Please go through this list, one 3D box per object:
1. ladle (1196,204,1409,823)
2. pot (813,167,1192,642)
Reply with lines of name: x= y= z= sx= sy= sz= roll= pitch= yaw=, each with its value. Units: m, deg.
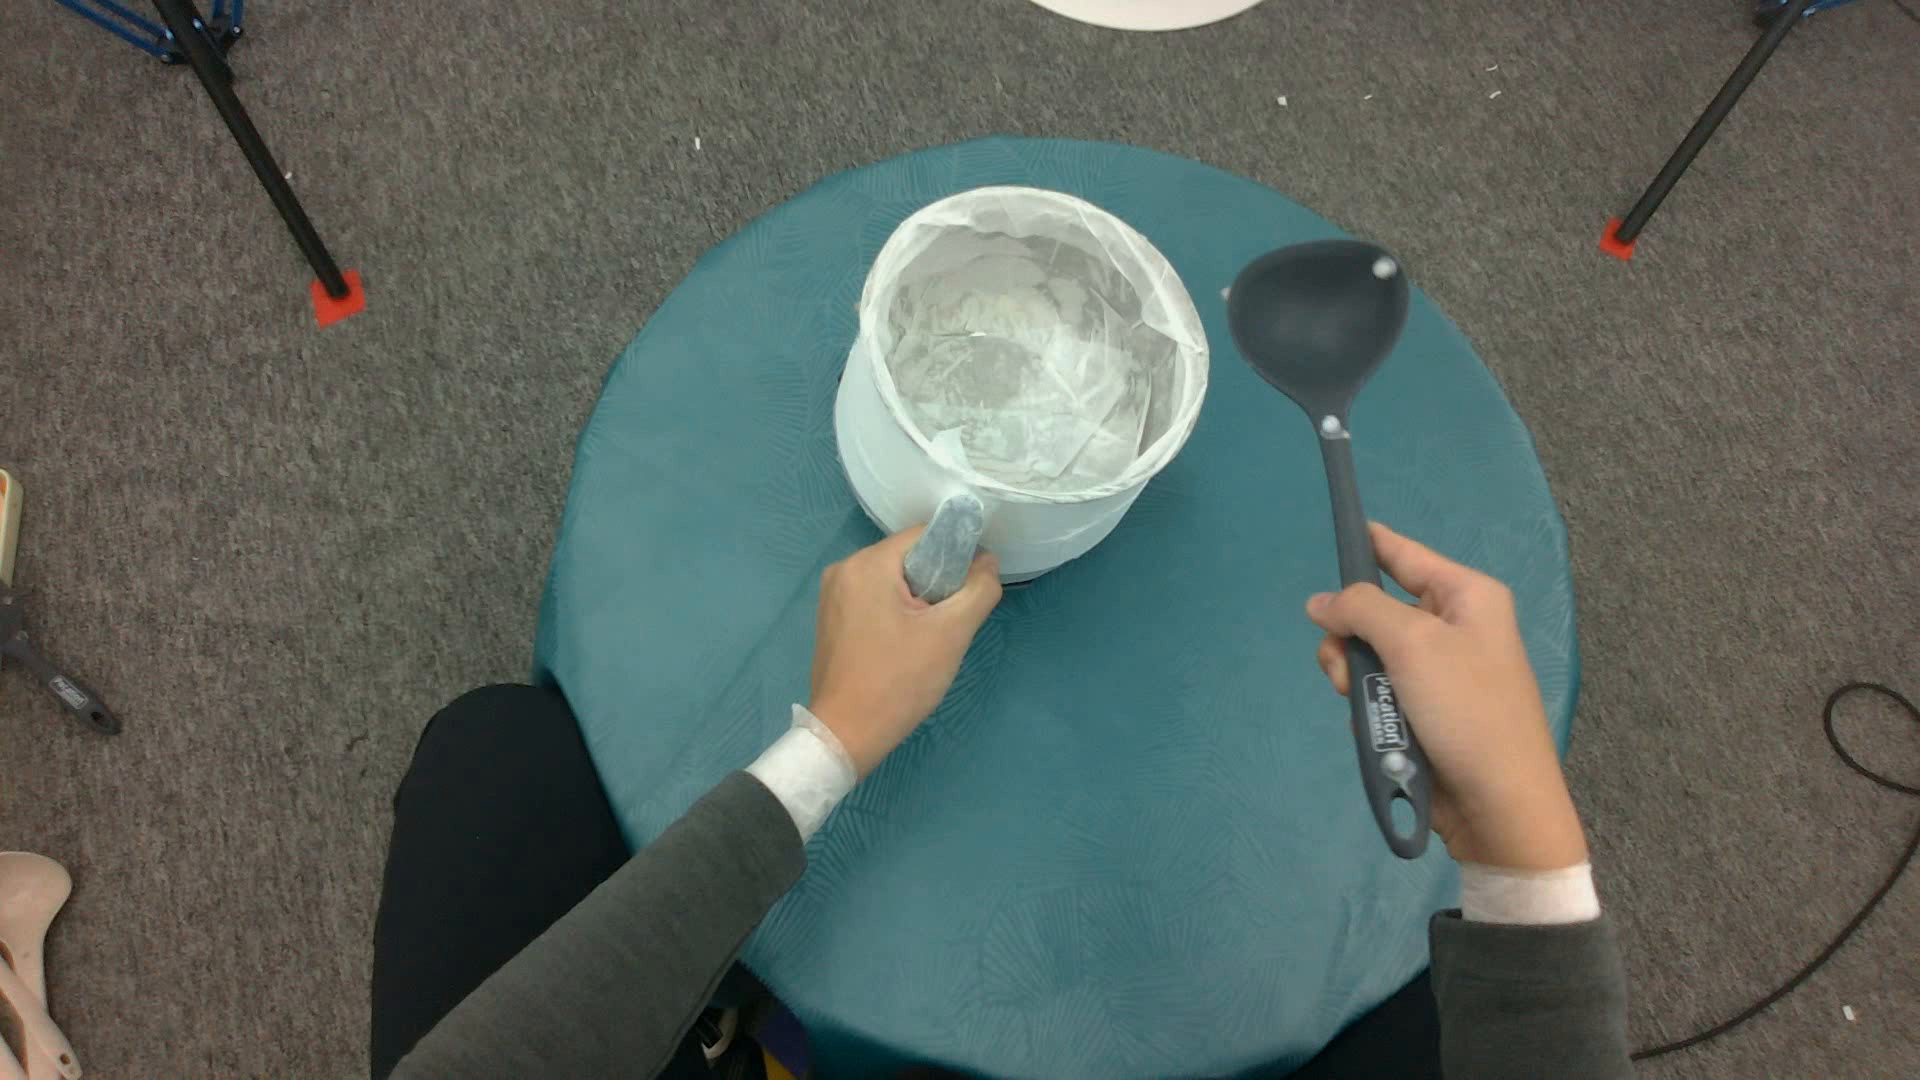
ladle: x=0.155 y=-0.029 z=0.591 sx=0.086 sy=0.064 sz=0.315 roll=-13 pitch=46 yaw=18
pot: x=0.007 y=-0.062 z=0.720 sx=0.179 sy=0.136 sz=0.234 roll=23 pitch=65 yaw=-4
